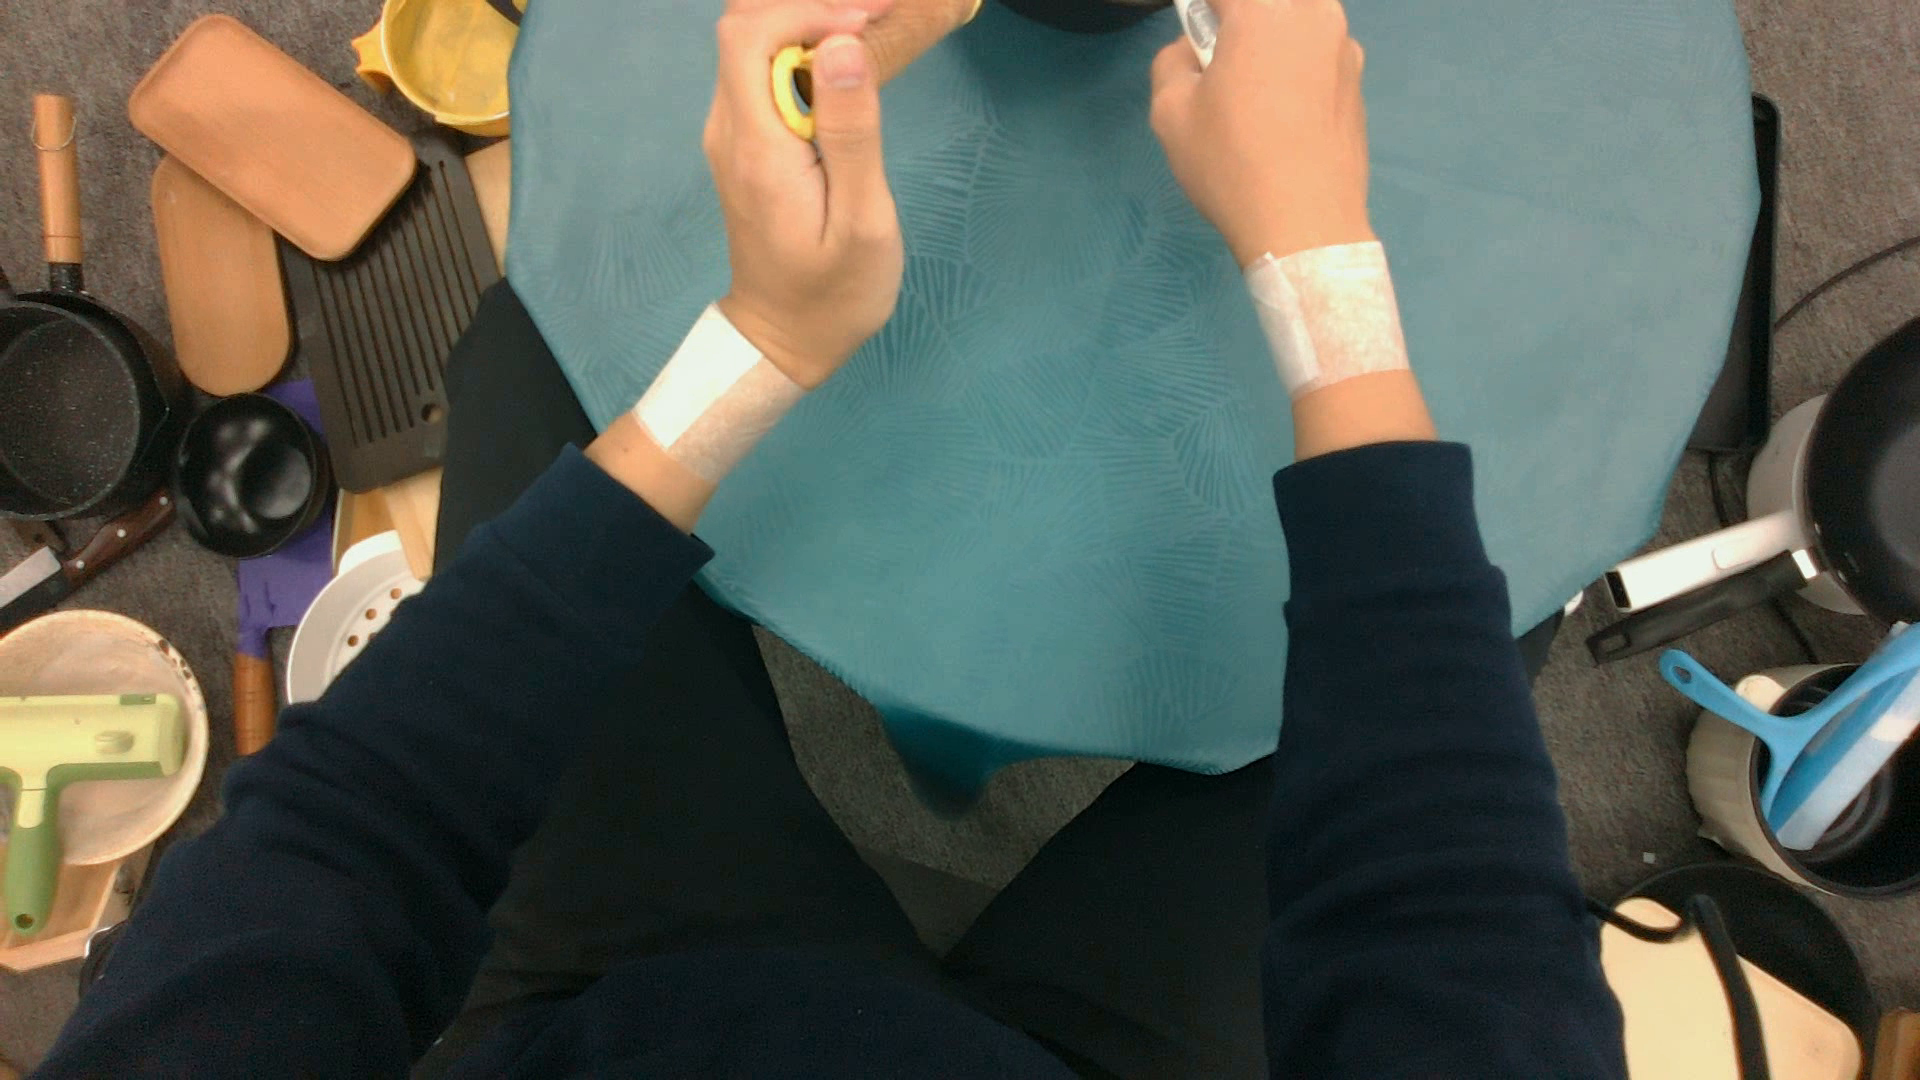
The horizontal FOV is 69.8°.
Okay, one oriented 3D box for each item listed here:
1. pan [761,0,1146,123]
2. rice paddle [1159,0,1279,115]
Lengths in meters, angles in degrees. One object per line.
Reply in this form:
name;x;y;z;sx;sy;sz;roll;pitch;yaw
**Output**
pan;-0.002;-0.239;0.557;0.169;0.049;0.326;36;48;-2
rice paddle;0.082;-0.268;0.603;0.068;0.029;0.206;-42;56;35
